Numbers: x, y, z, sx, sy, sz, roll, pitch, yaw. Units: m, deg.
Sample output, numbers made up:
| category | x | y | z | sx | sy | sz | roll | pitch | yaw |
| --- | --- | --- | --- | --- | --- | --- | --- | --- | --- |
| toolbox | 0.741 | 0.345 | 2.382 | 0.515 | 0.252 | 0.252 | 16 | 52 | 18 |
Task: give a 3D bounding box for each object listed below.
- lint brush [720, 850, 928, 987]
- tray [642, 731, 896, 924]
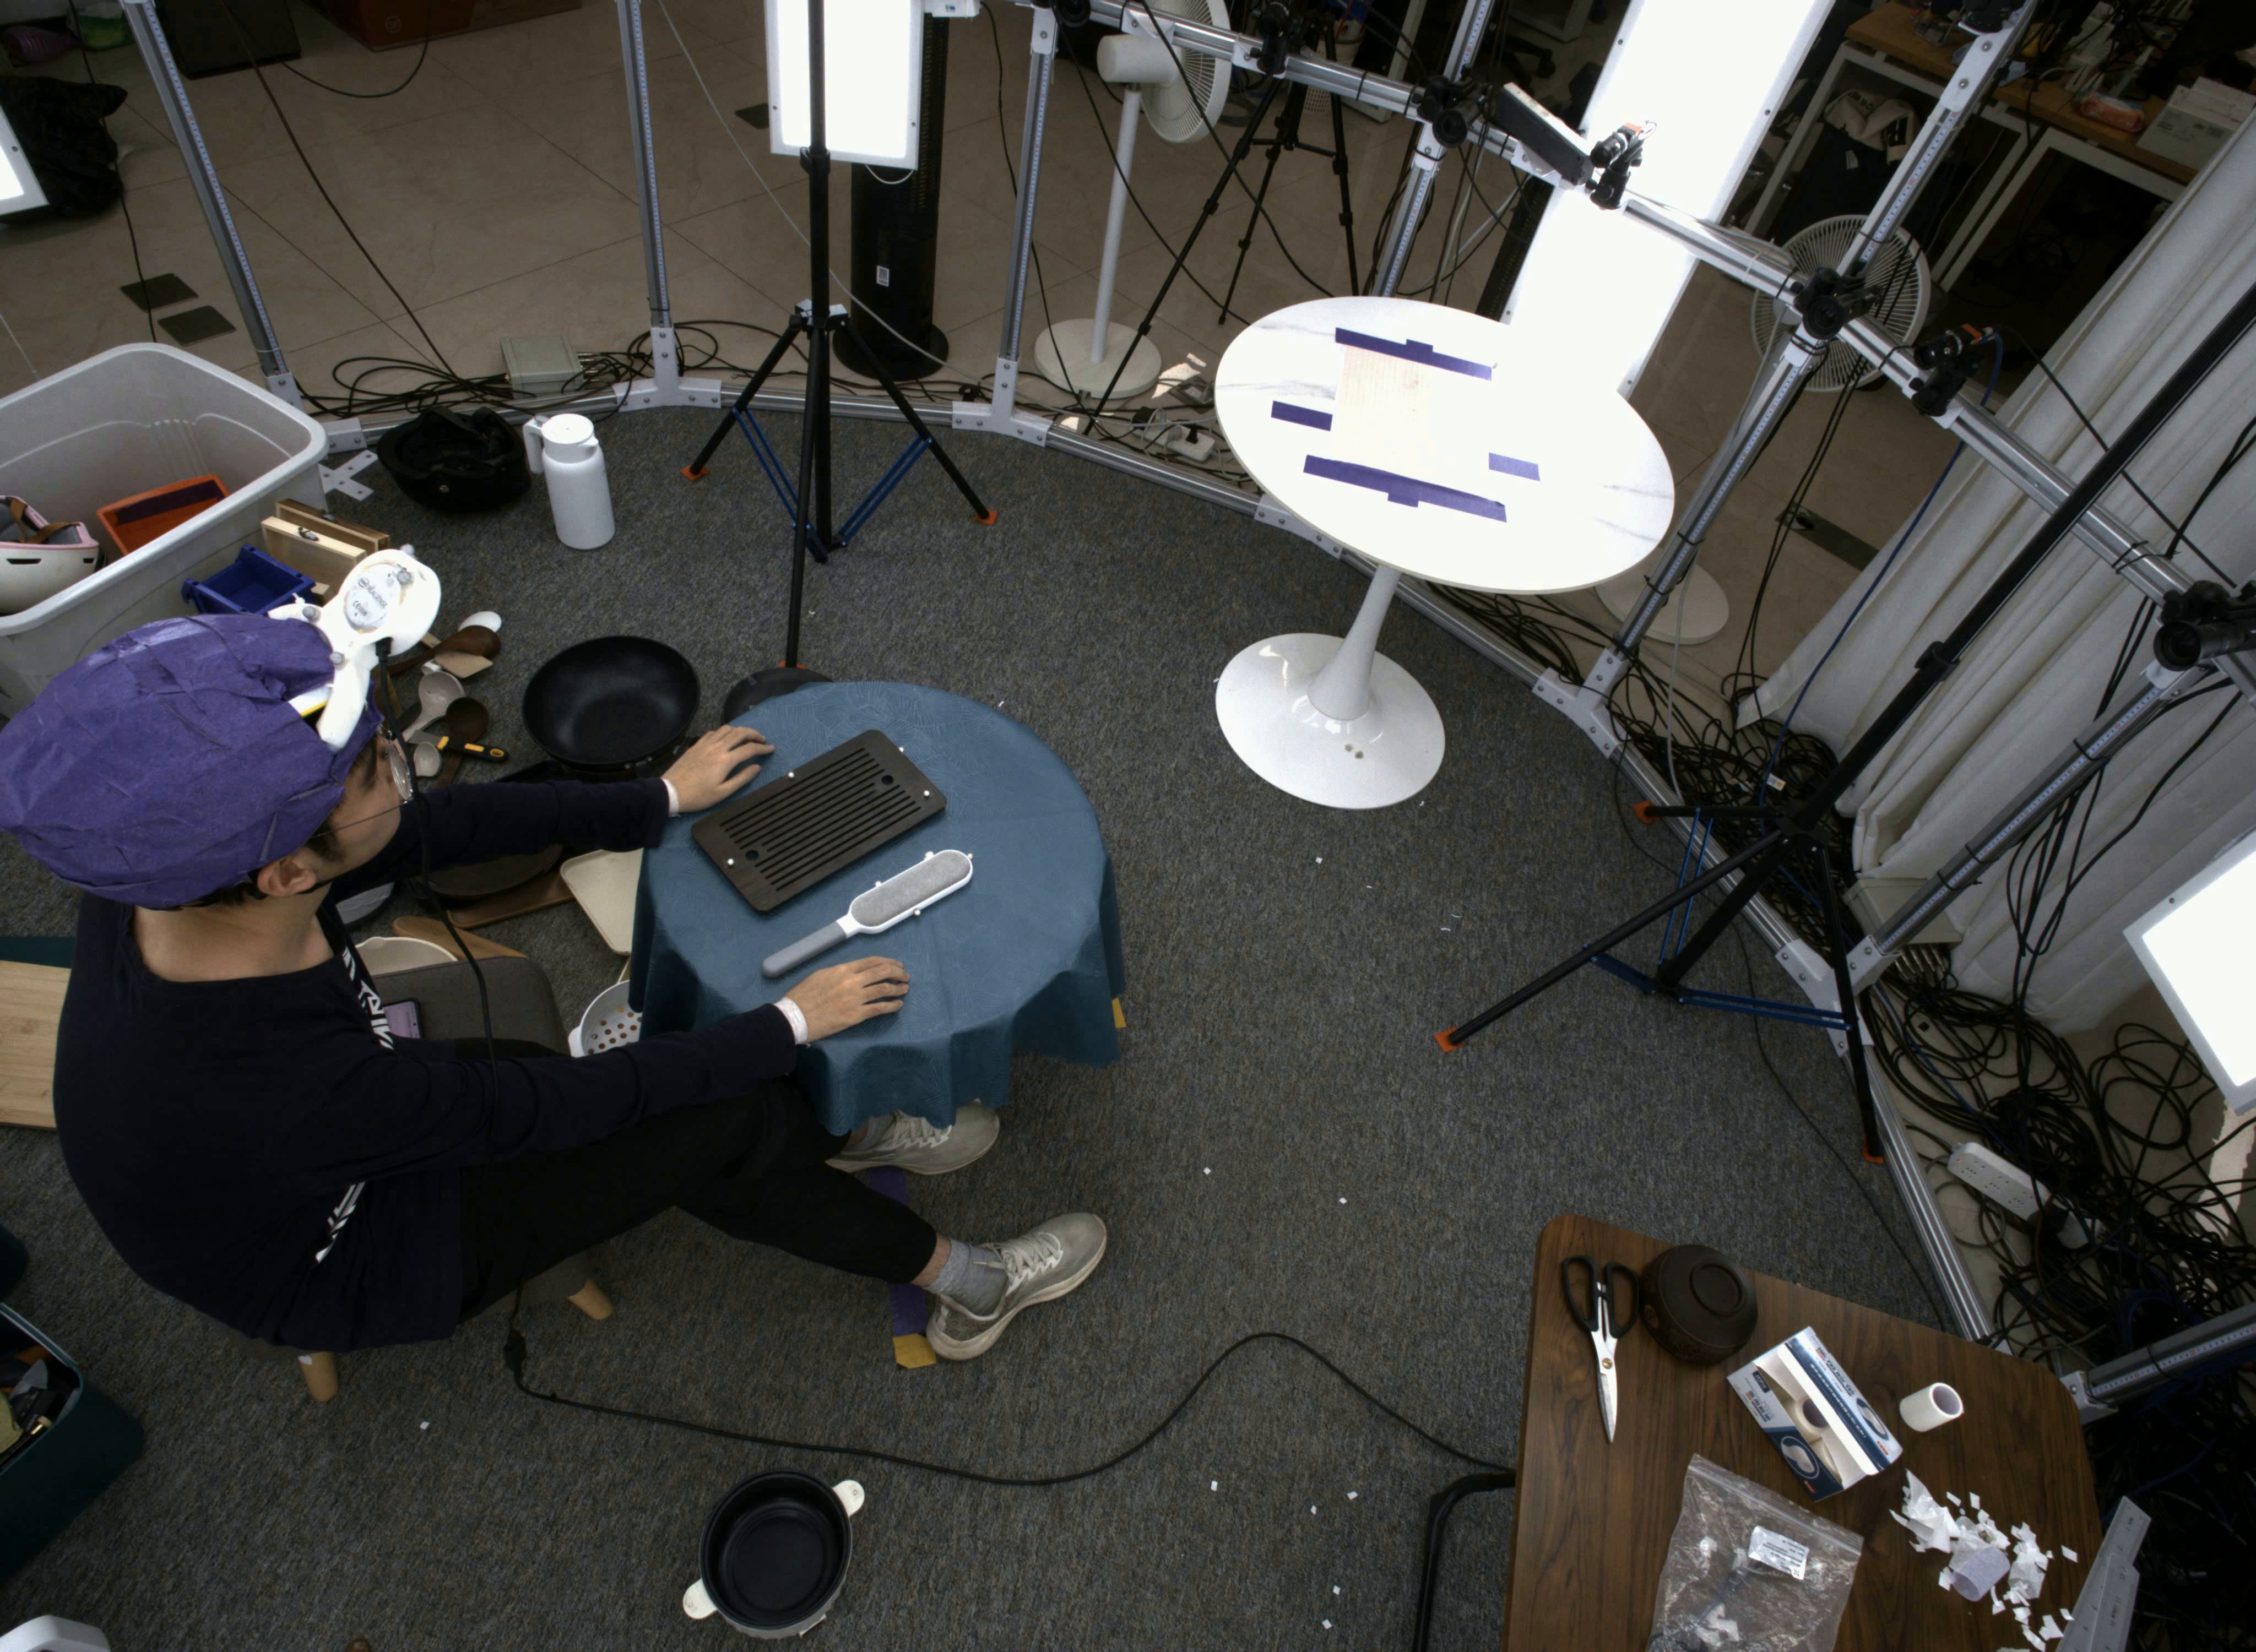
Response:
| category | x | y | z | sx | sy | sz | roll | pitch | yaw |
| --- | --- | --- | --- | --- | --- | --- | --- | --- | --- |
| lint brush | -0.382 | 0.113 | 1.645 | 0.310 | 0.021 | 0.059 | -33 | 72 | -32 |
| tray | -0.472 | -0.004 | 1.715 | 0.166 | 0.019 | 0.306 | 42 | 55 | 17 |
